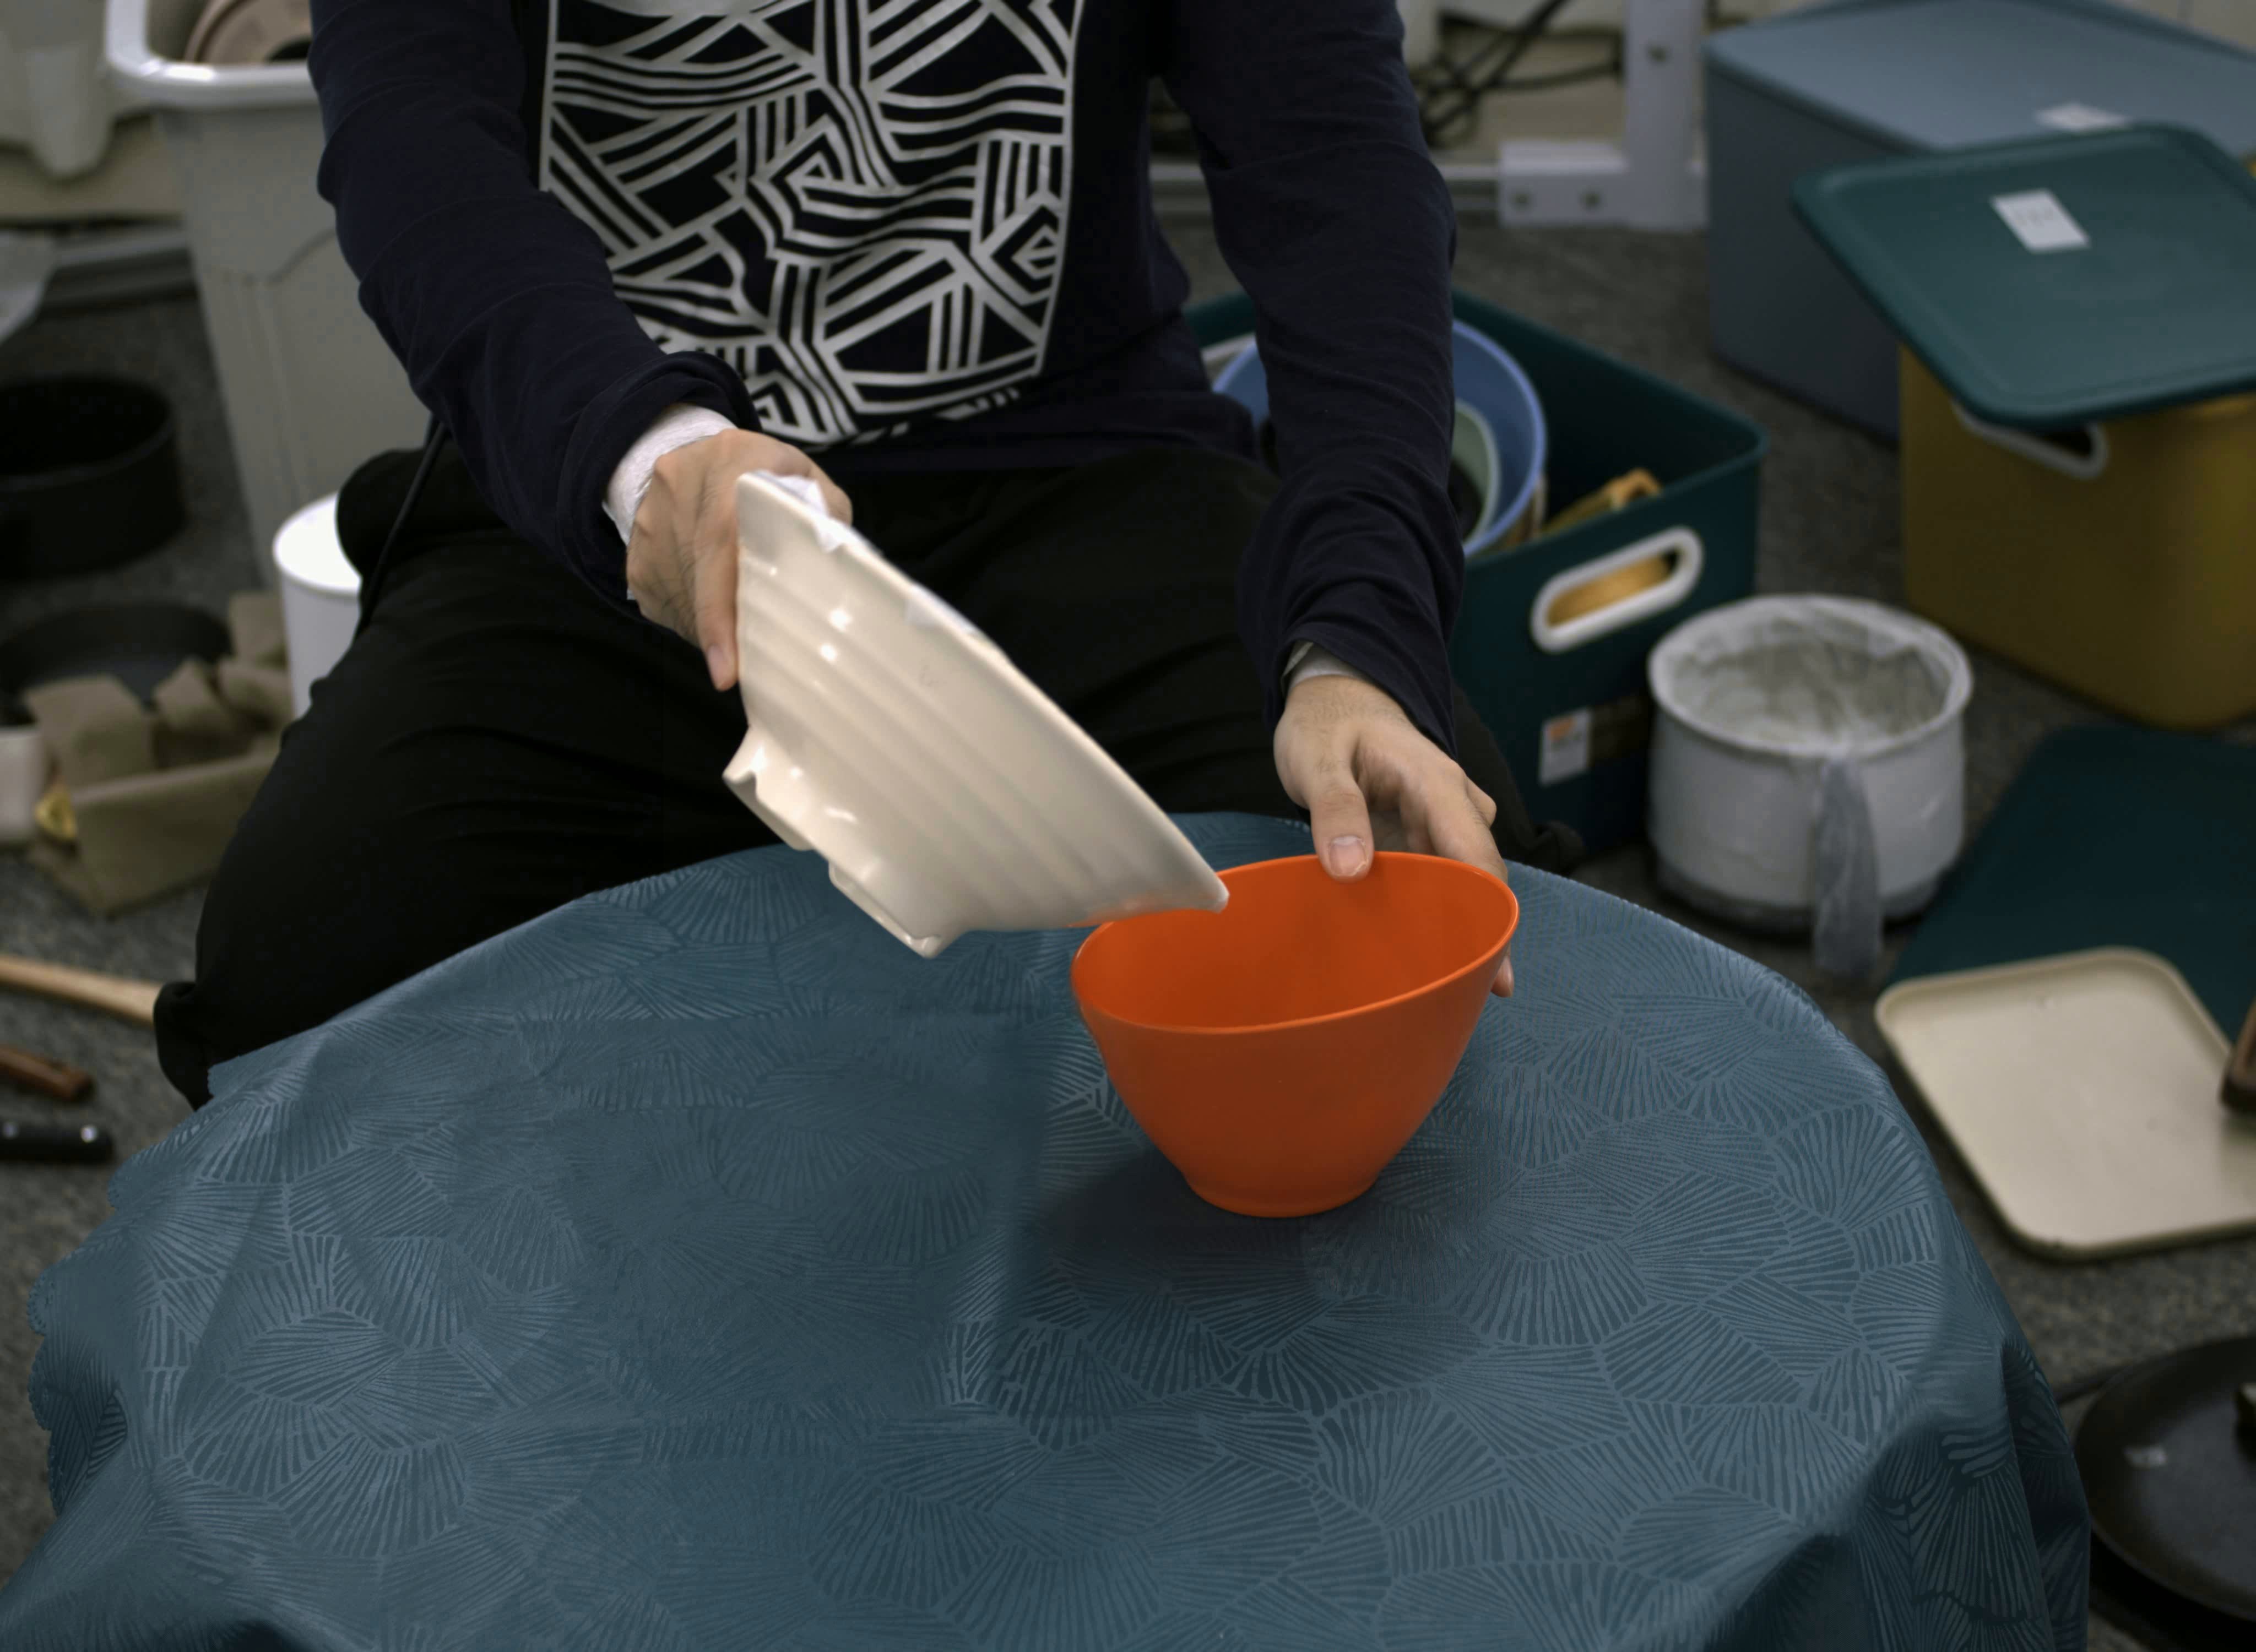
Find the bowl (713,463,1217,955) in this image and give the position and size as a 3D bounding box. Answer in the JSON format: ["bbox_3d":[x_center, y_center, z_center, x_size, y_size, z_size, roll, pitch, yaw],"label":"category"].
[{"bbox_3d":[-0.072,-0.017,1.756,0.078,0.202,0.204,-49,40,-6],"label":"bowl"}]

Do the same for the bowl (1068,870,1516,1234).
[{"bbox_3d":[0.055,0.077,1.841,0.147,0.104,0.150,-3,23,2],"label":"bowl"}]
